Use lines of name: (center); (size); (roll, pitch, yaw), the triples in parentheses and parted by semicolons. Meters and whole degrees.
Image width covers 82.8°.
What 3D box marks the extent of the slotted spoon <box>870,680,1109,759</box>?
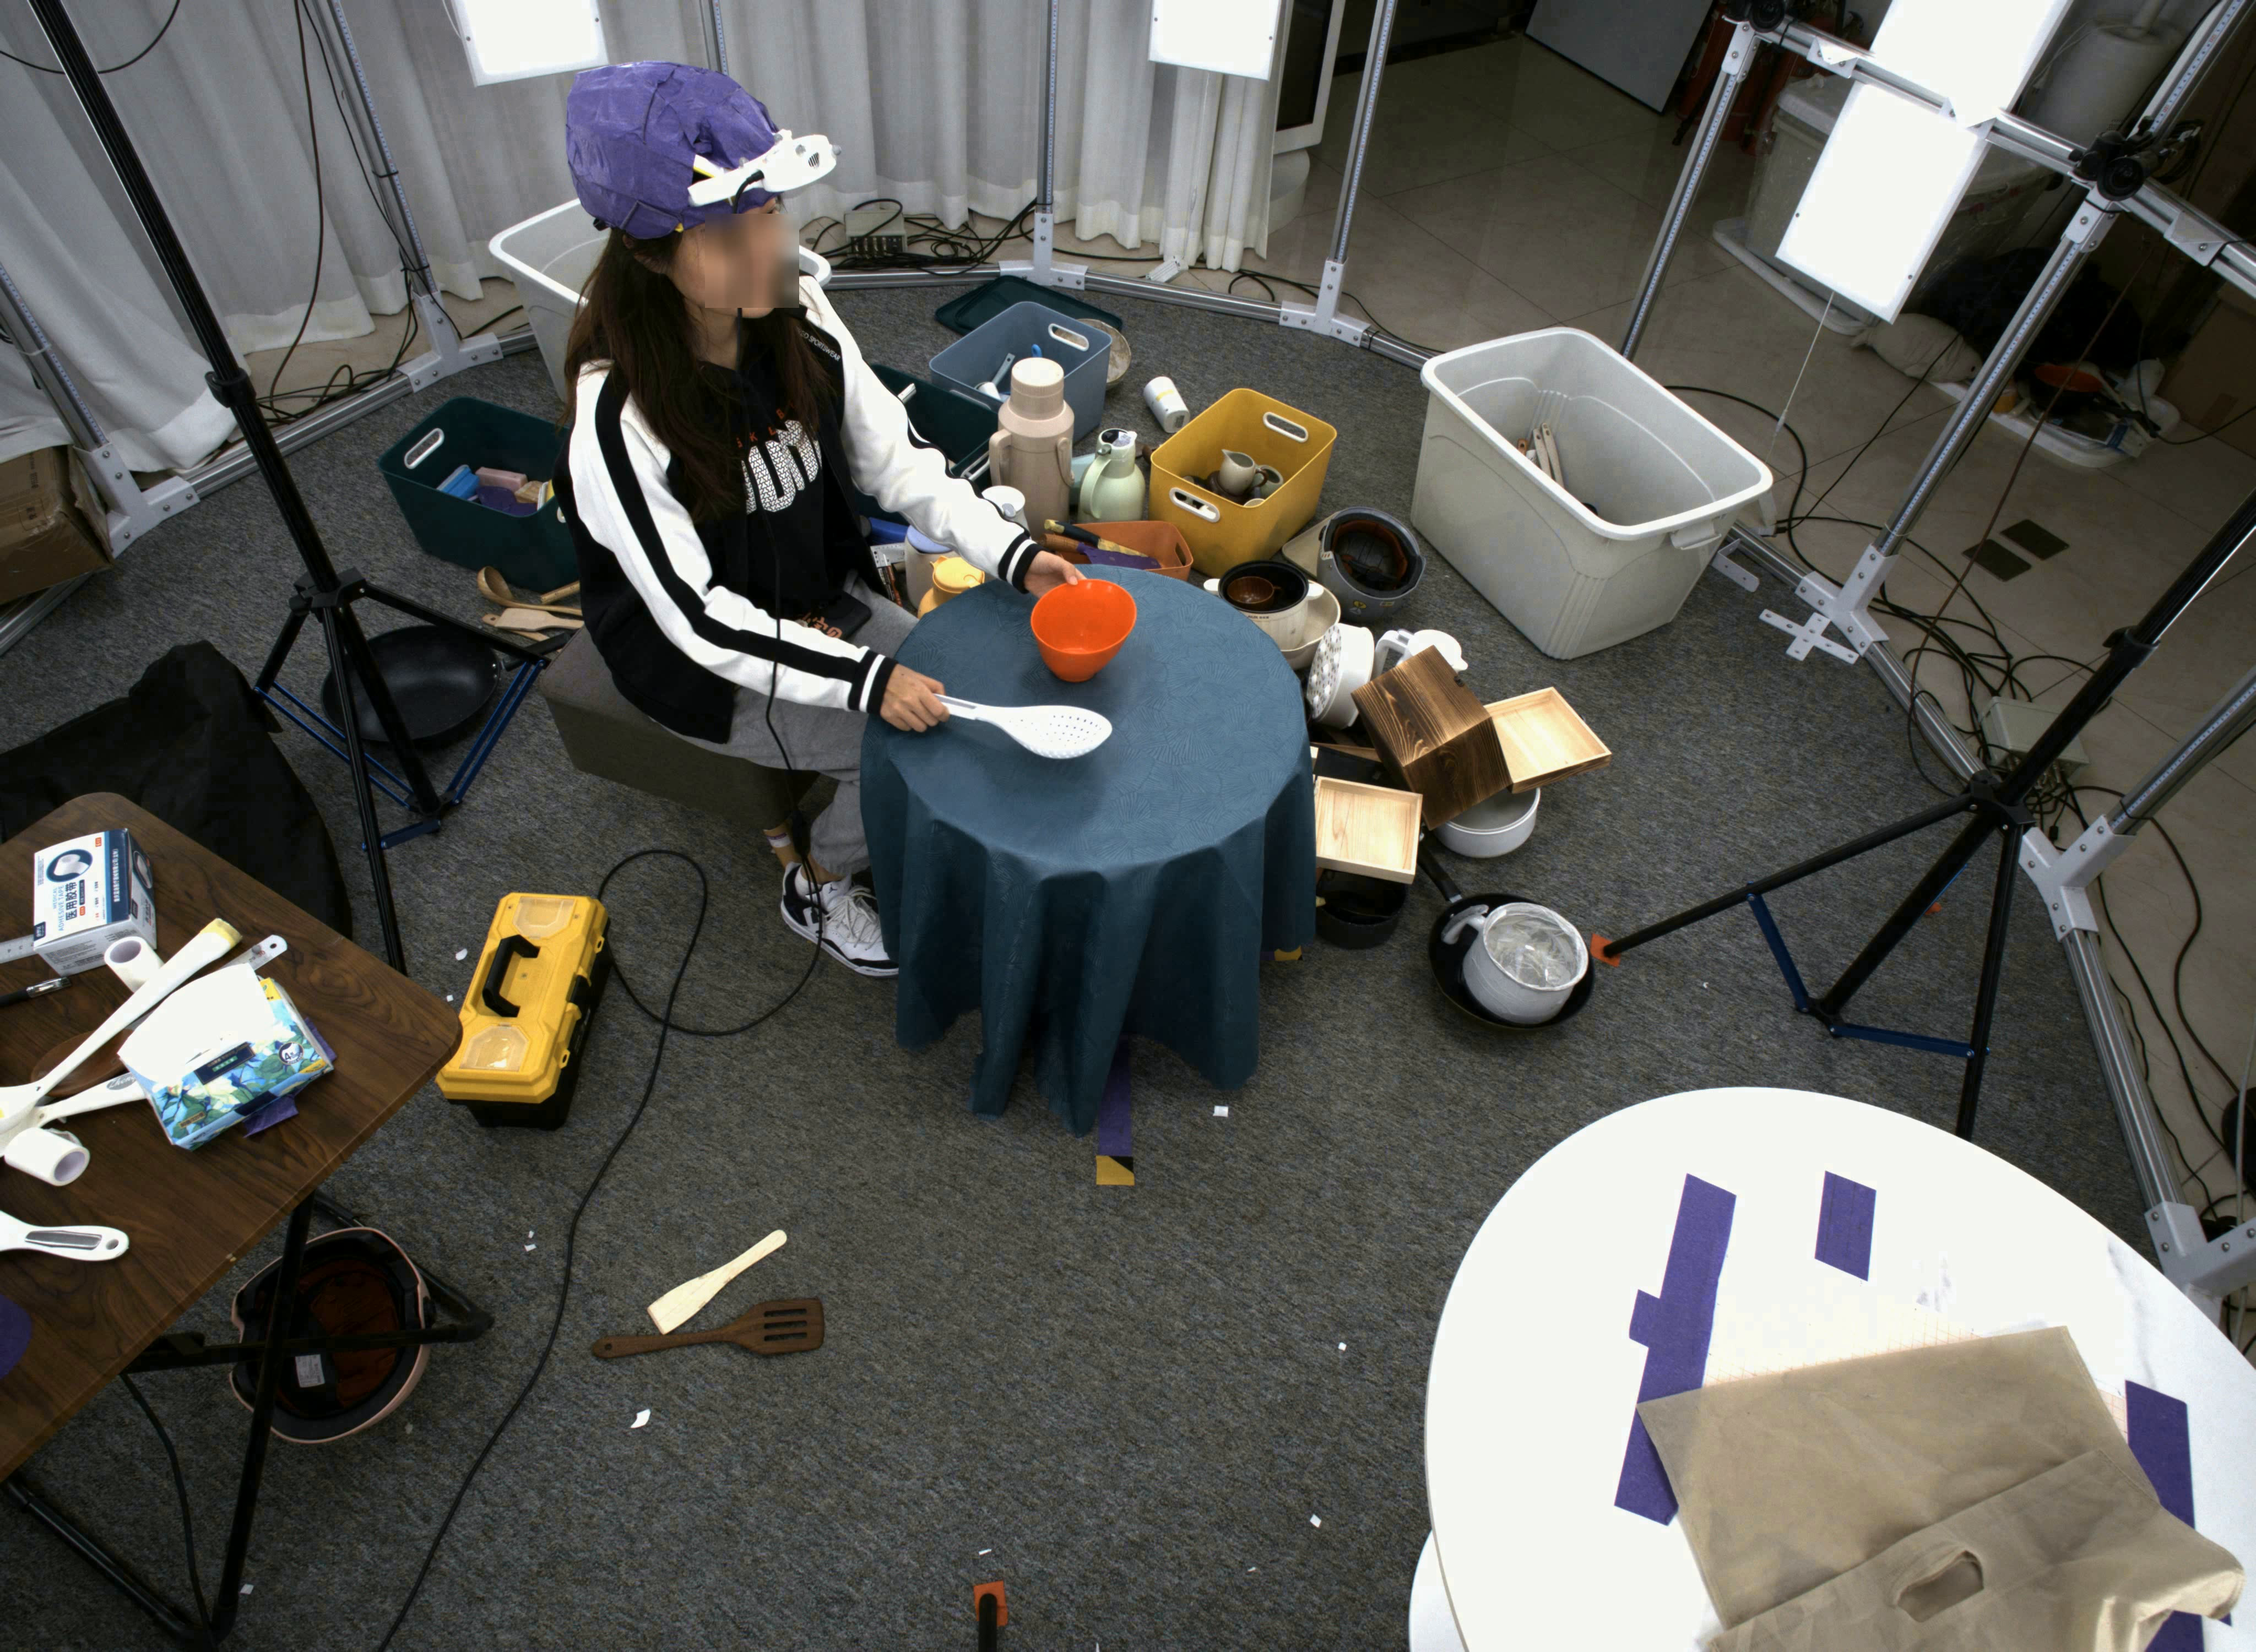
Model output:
slotted spoon: (-0.192, -0.150, 1.726); (0.352, 0.045, 0.137); (19, 28, 18)

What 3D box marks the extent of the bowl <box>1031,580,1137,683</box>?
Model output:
bowl: (-0.064, -0.267, 1.831); (0.148, 0.102, 0.152); (3, 50, -3)
